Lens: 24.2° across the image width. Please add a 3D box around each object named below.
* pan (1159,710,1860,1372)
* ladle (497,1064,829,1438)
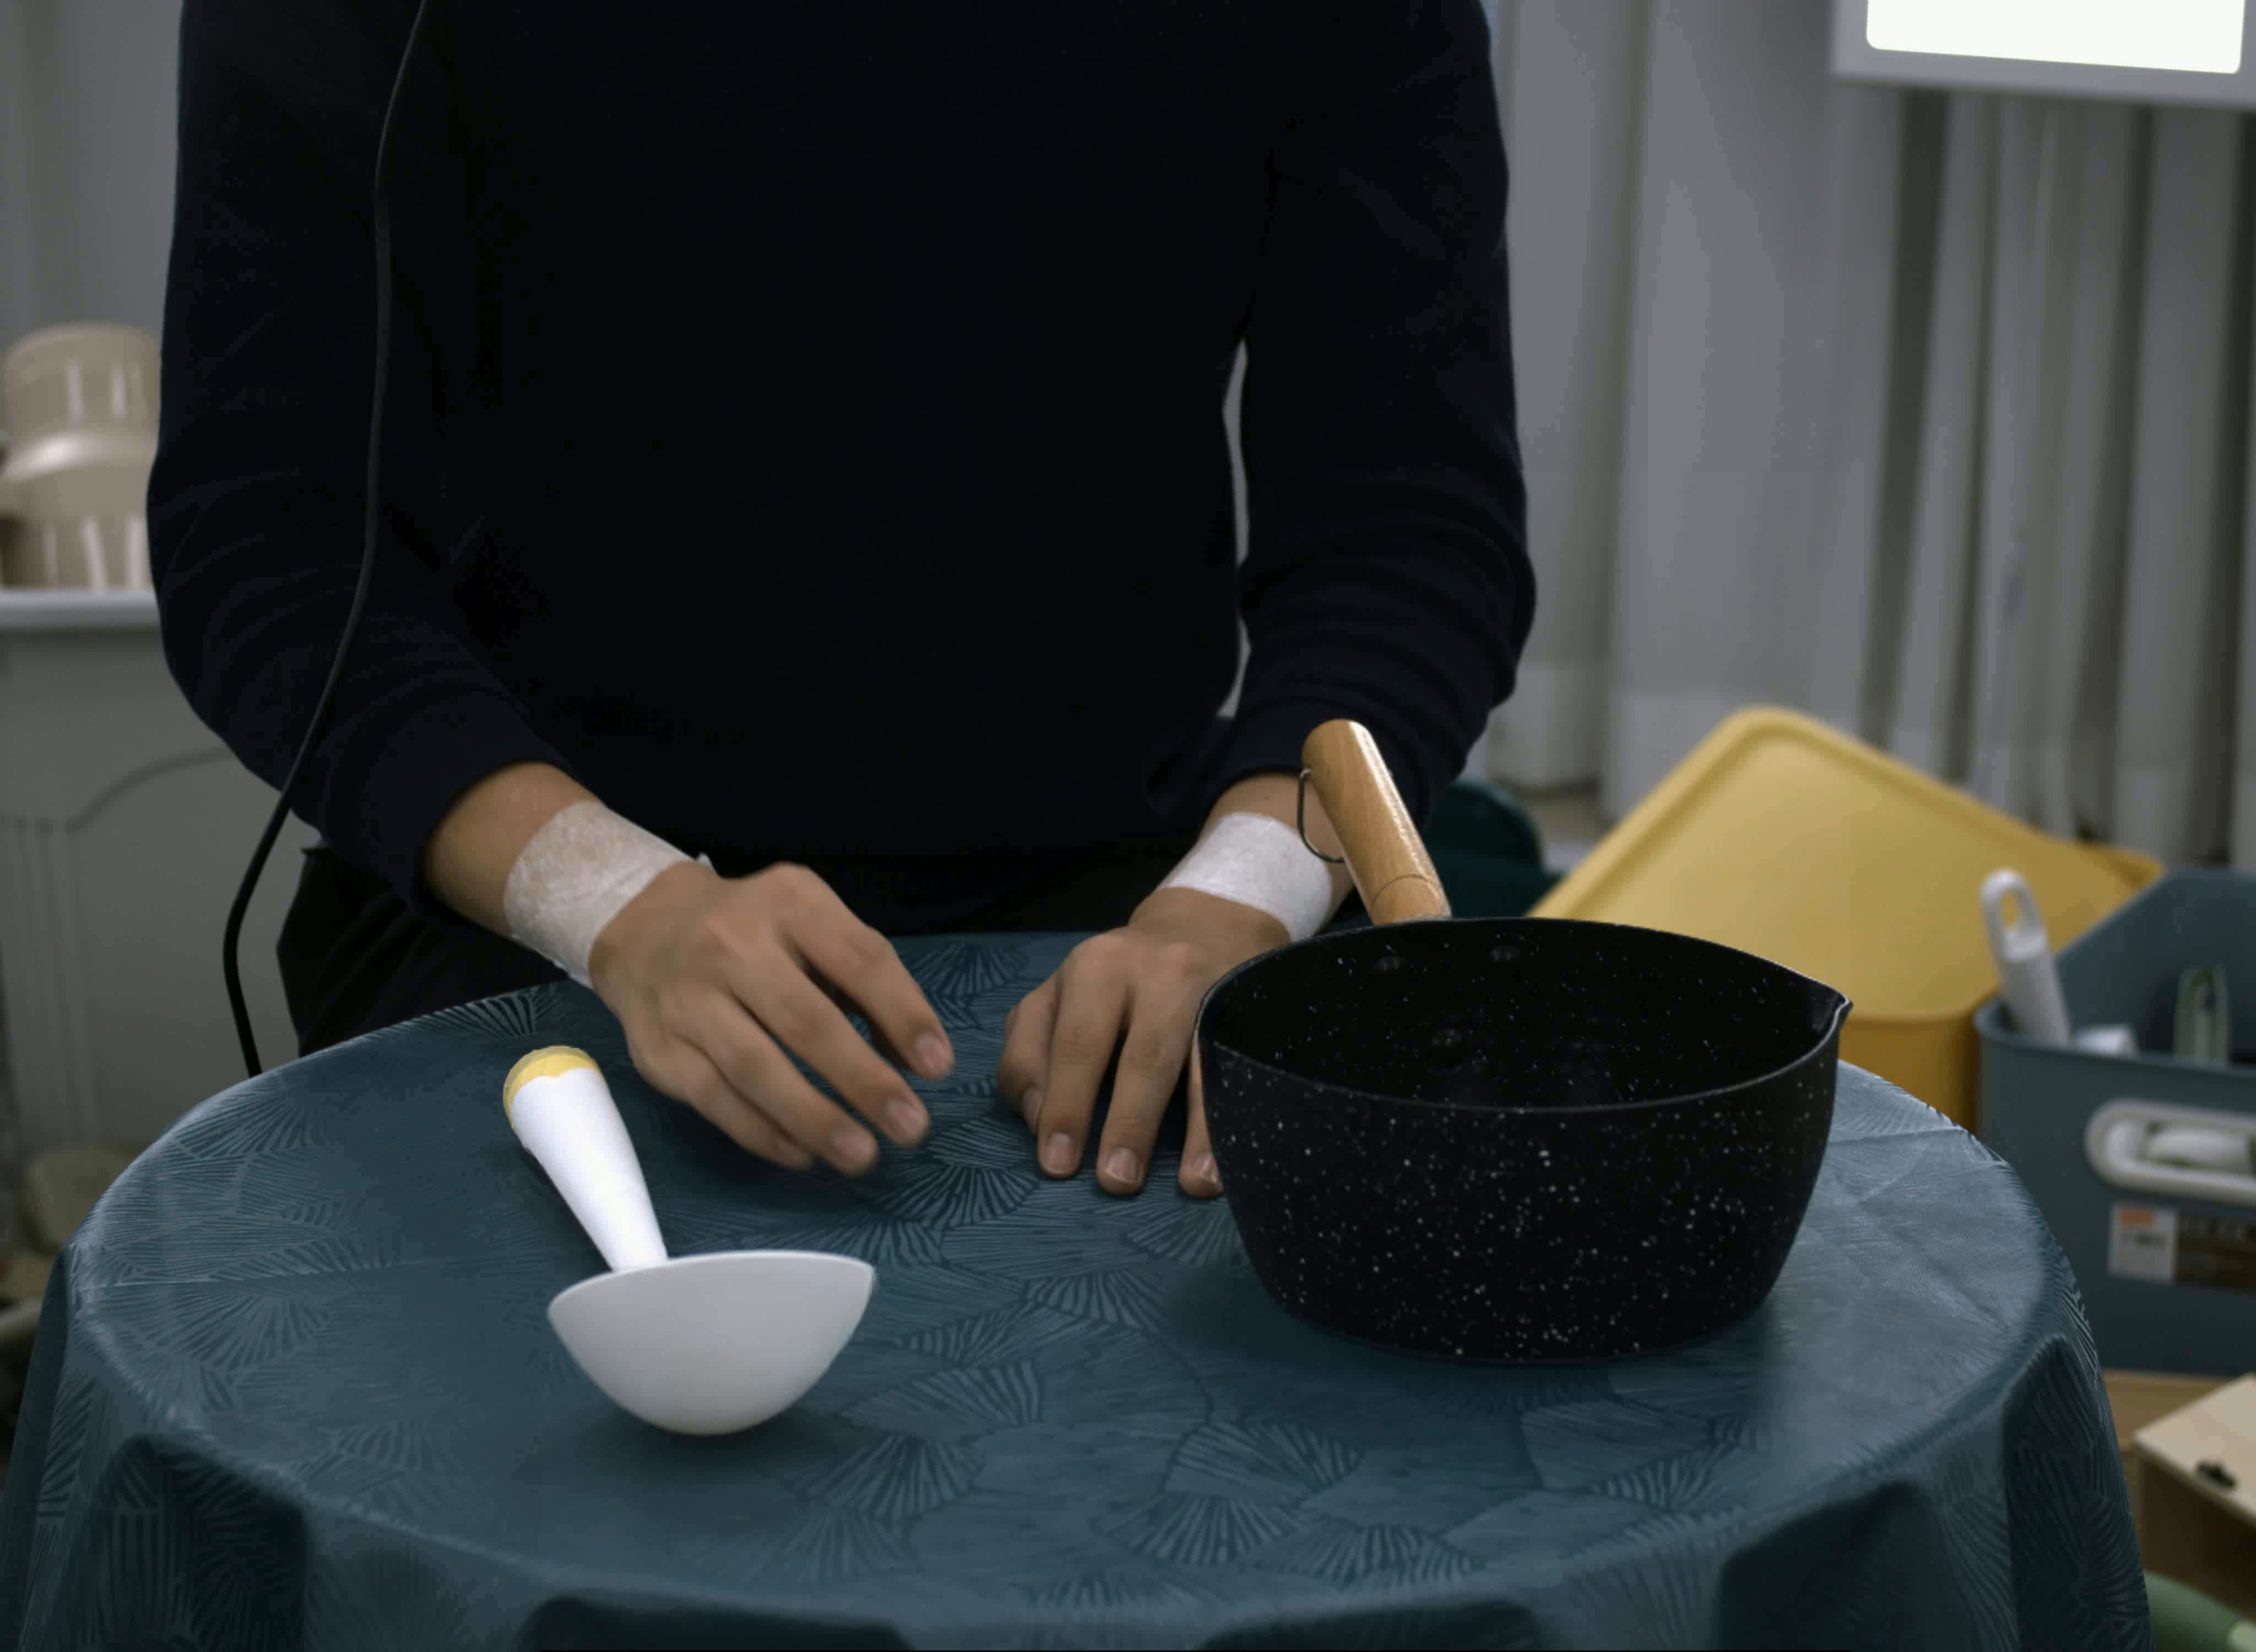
[{"bbox_3d":[0.098,0.060,1.610,0.207,0.109,0.339,-4,18,-11],"label":"pan"},{"bbox_3d":[-0.150,0.107,1.517,0.090,0.070,0.290,-10,17,-12],"label":"ladle"}]
